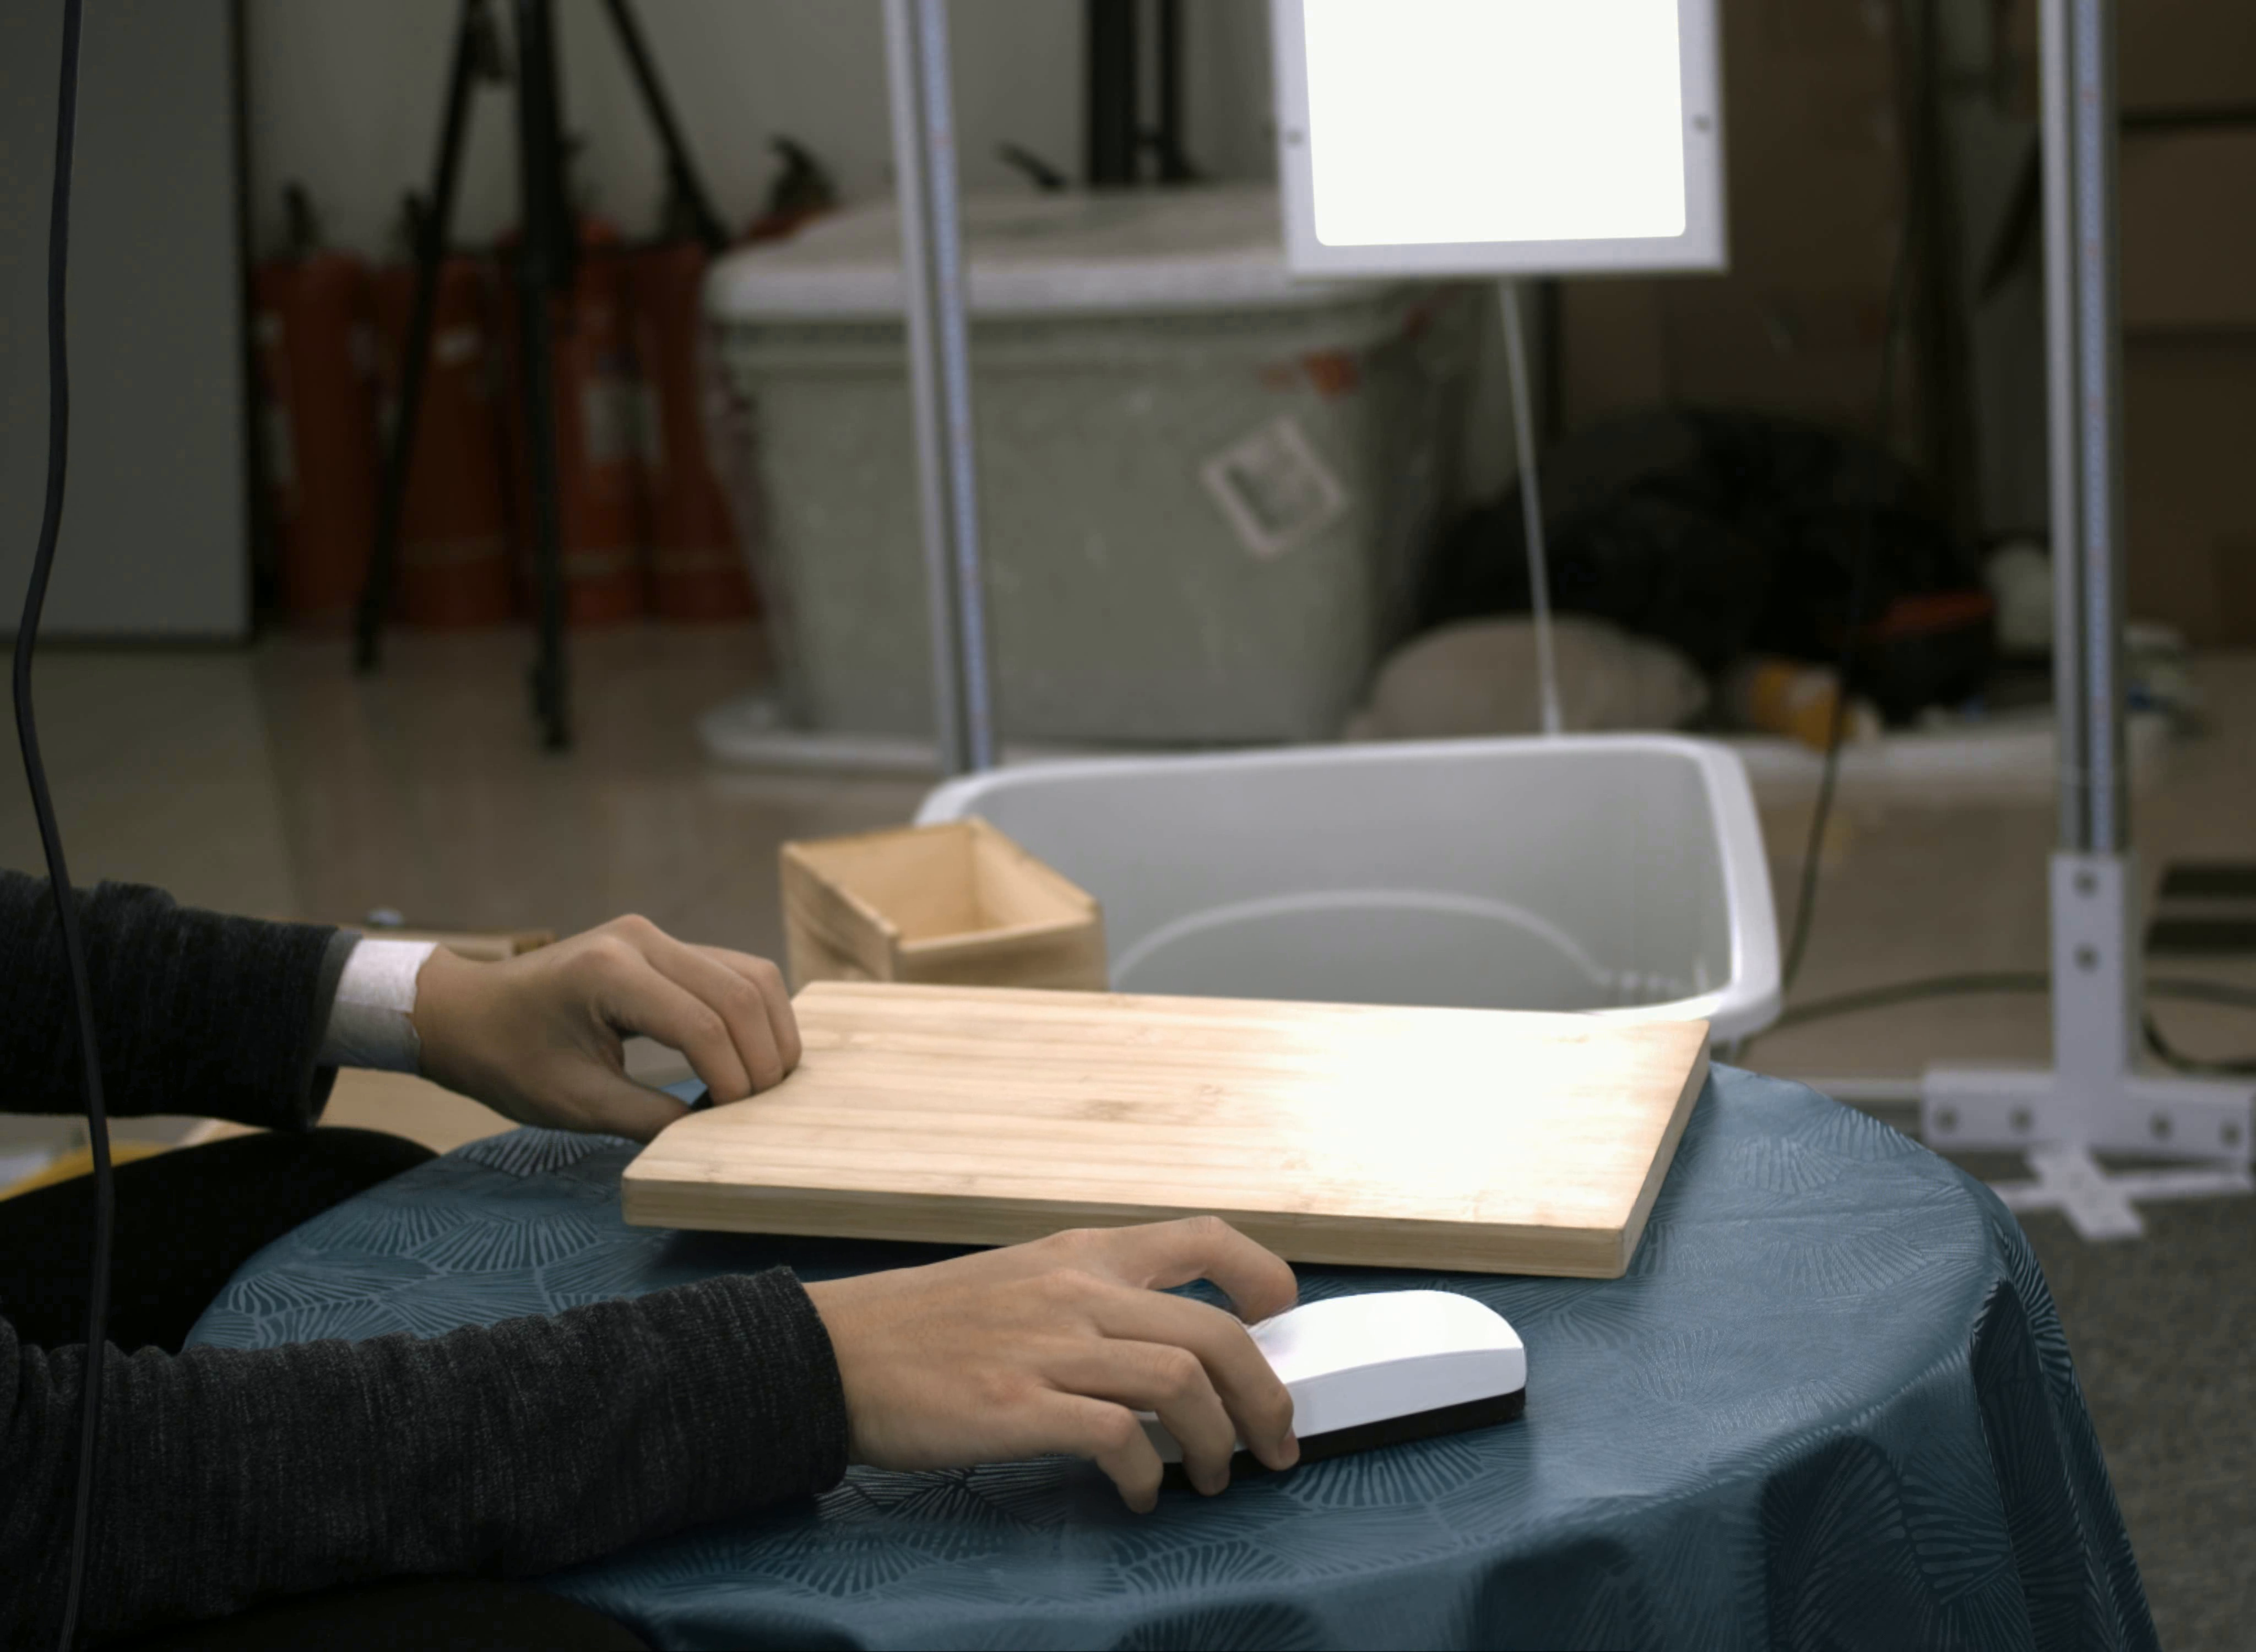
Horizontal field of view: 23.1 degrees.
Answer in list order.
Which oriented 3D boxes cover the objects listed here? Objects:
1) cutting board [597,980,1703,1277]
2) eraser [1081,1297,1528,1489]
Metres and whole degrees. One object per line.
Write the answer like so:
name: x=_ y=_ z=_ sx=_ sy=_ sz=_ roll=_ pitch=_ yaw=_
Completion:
cutting board: x=0.015 y=0.102 z=1.919 sx=0.351 sy=0.024 sz=0.247 roll=2 pitch=15 yaw=14
eraser: x=0.053 y=0.166 z=1.651 sx=0.129 sy=0.034 sz=0.064 roll=-8 pitch=16 yaw=-17
